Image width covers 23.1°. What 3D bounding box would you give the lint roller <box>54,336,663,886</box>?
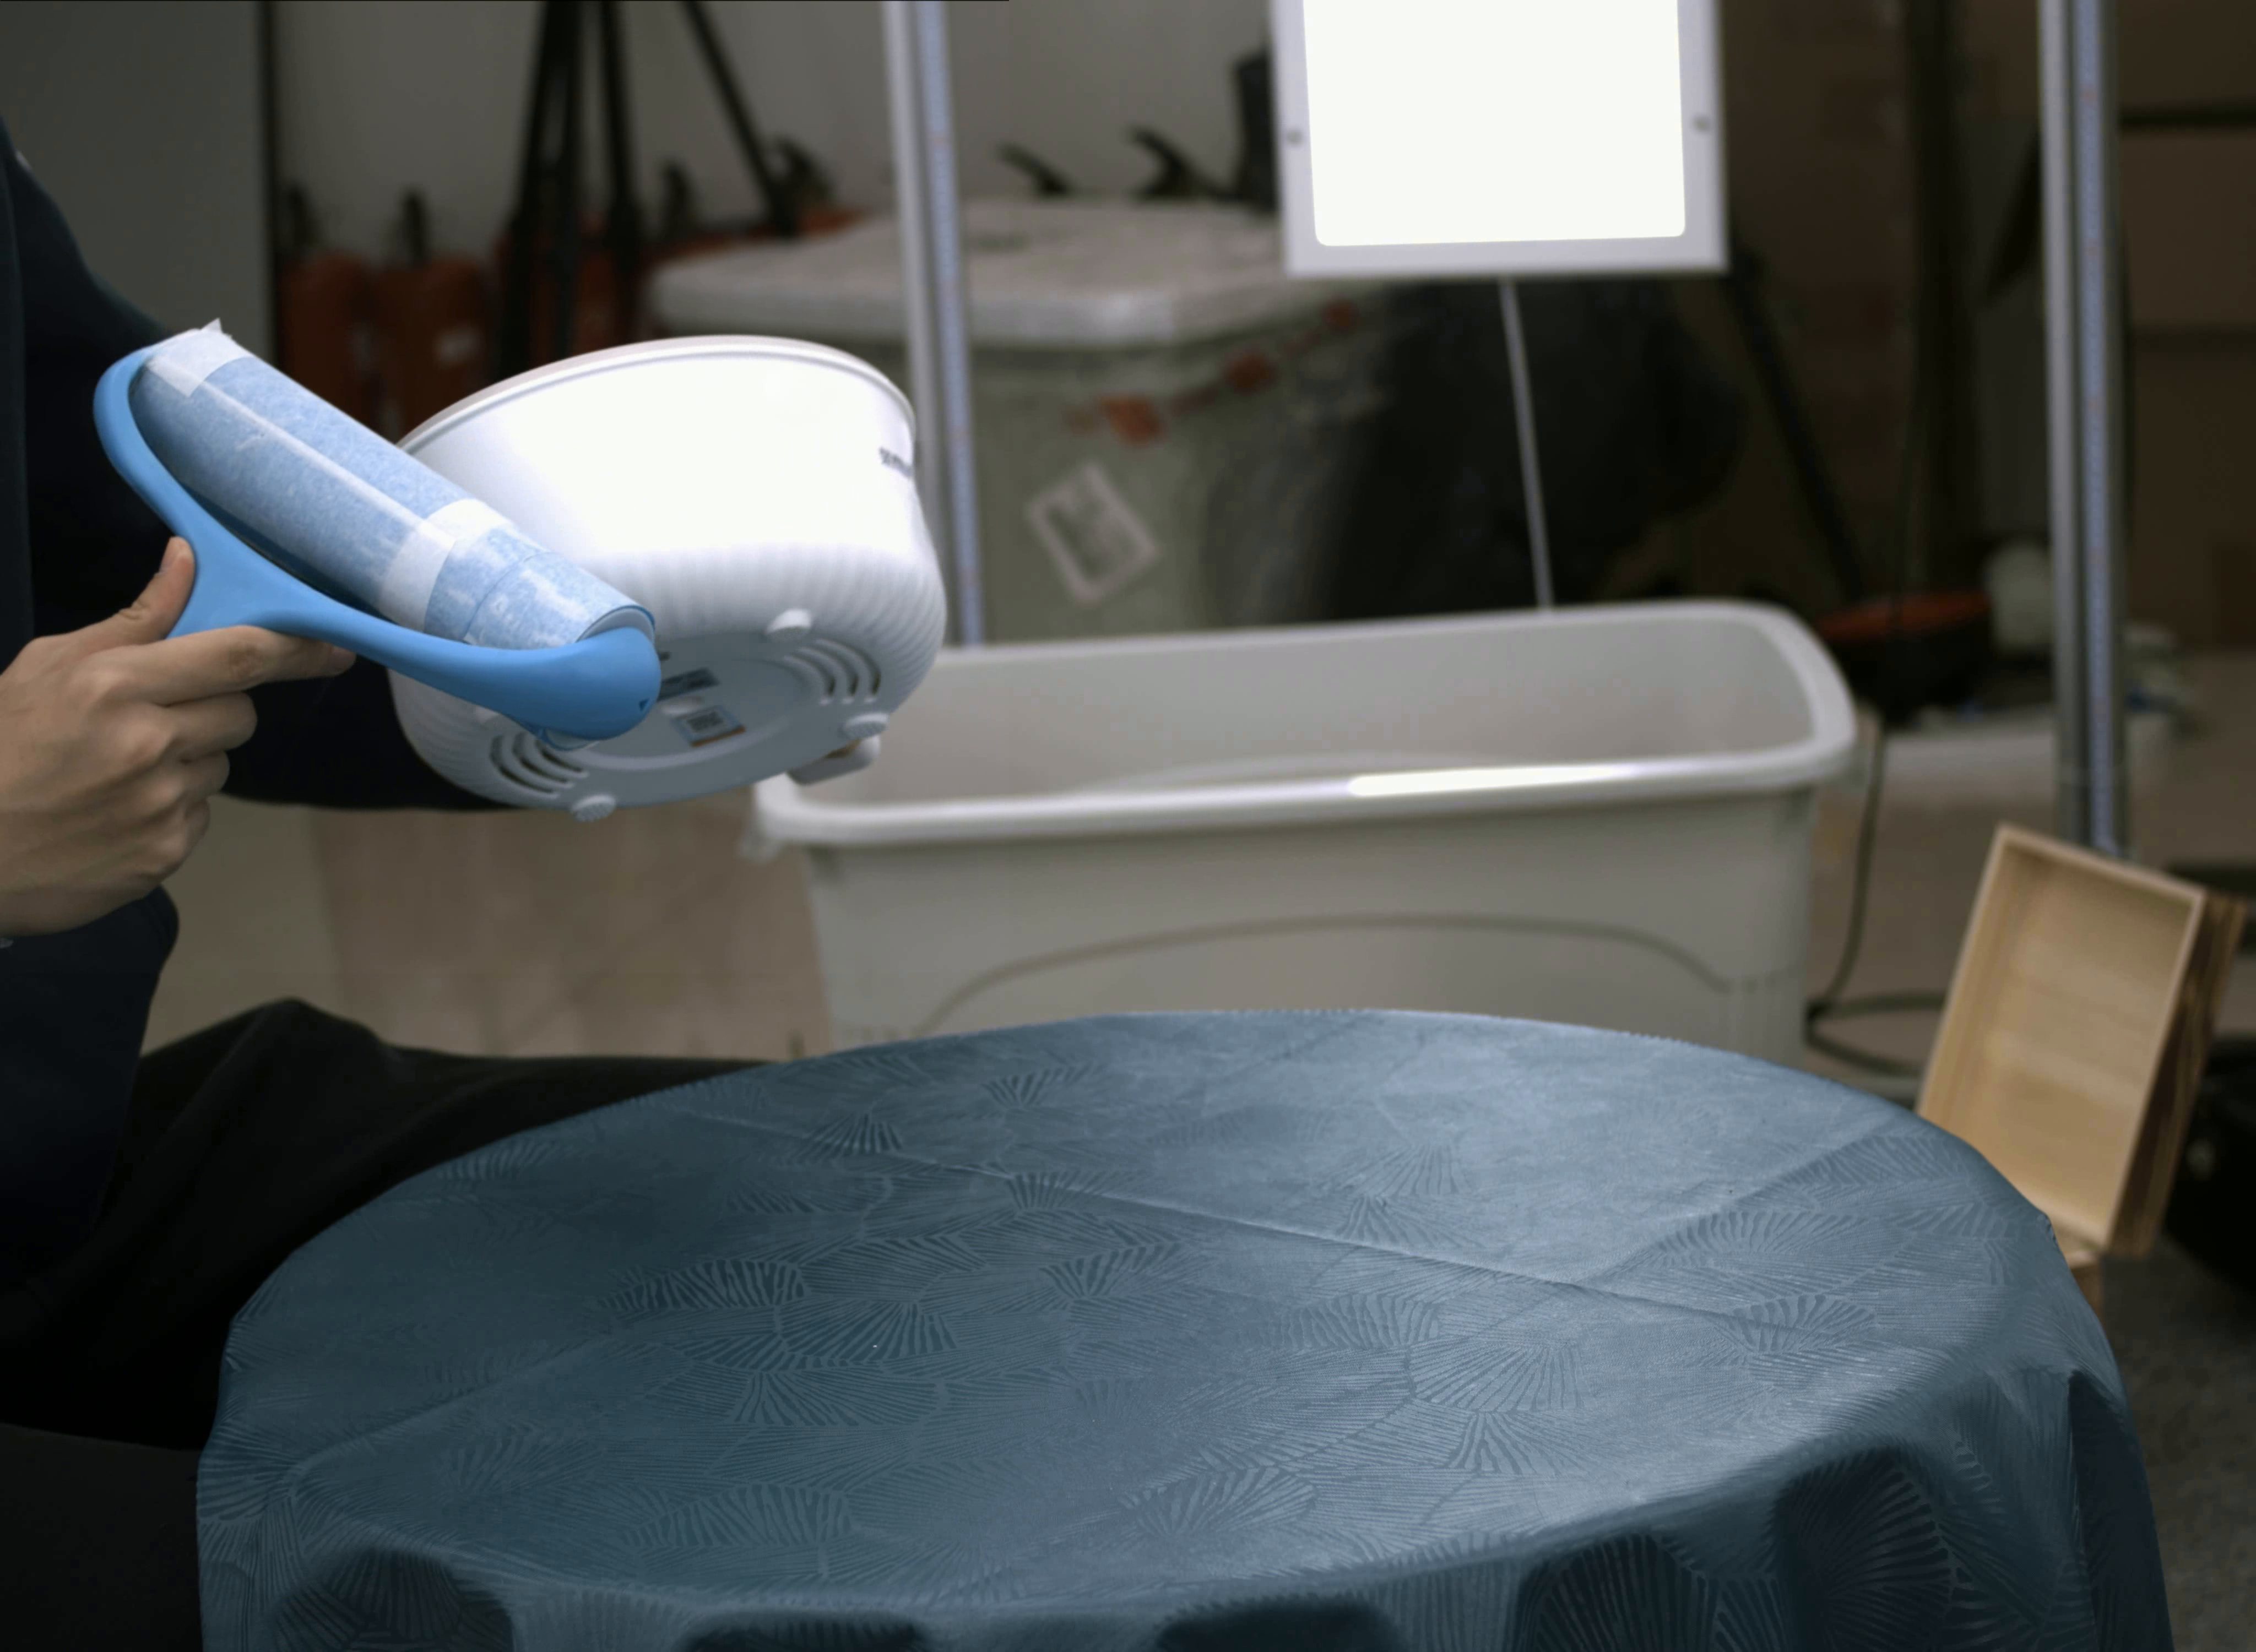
[{"bbox_3d":[-0.278,-0.056,1.772,0.231,0.068,0.177,30,60,23],"label":"lint roller"}]

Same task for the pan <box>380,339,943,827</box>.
[{"bbox_3d":[-0.146,-0.054,1.985,0.202,0.102,0.352,-17,-21,9],"label":"pan"}]
